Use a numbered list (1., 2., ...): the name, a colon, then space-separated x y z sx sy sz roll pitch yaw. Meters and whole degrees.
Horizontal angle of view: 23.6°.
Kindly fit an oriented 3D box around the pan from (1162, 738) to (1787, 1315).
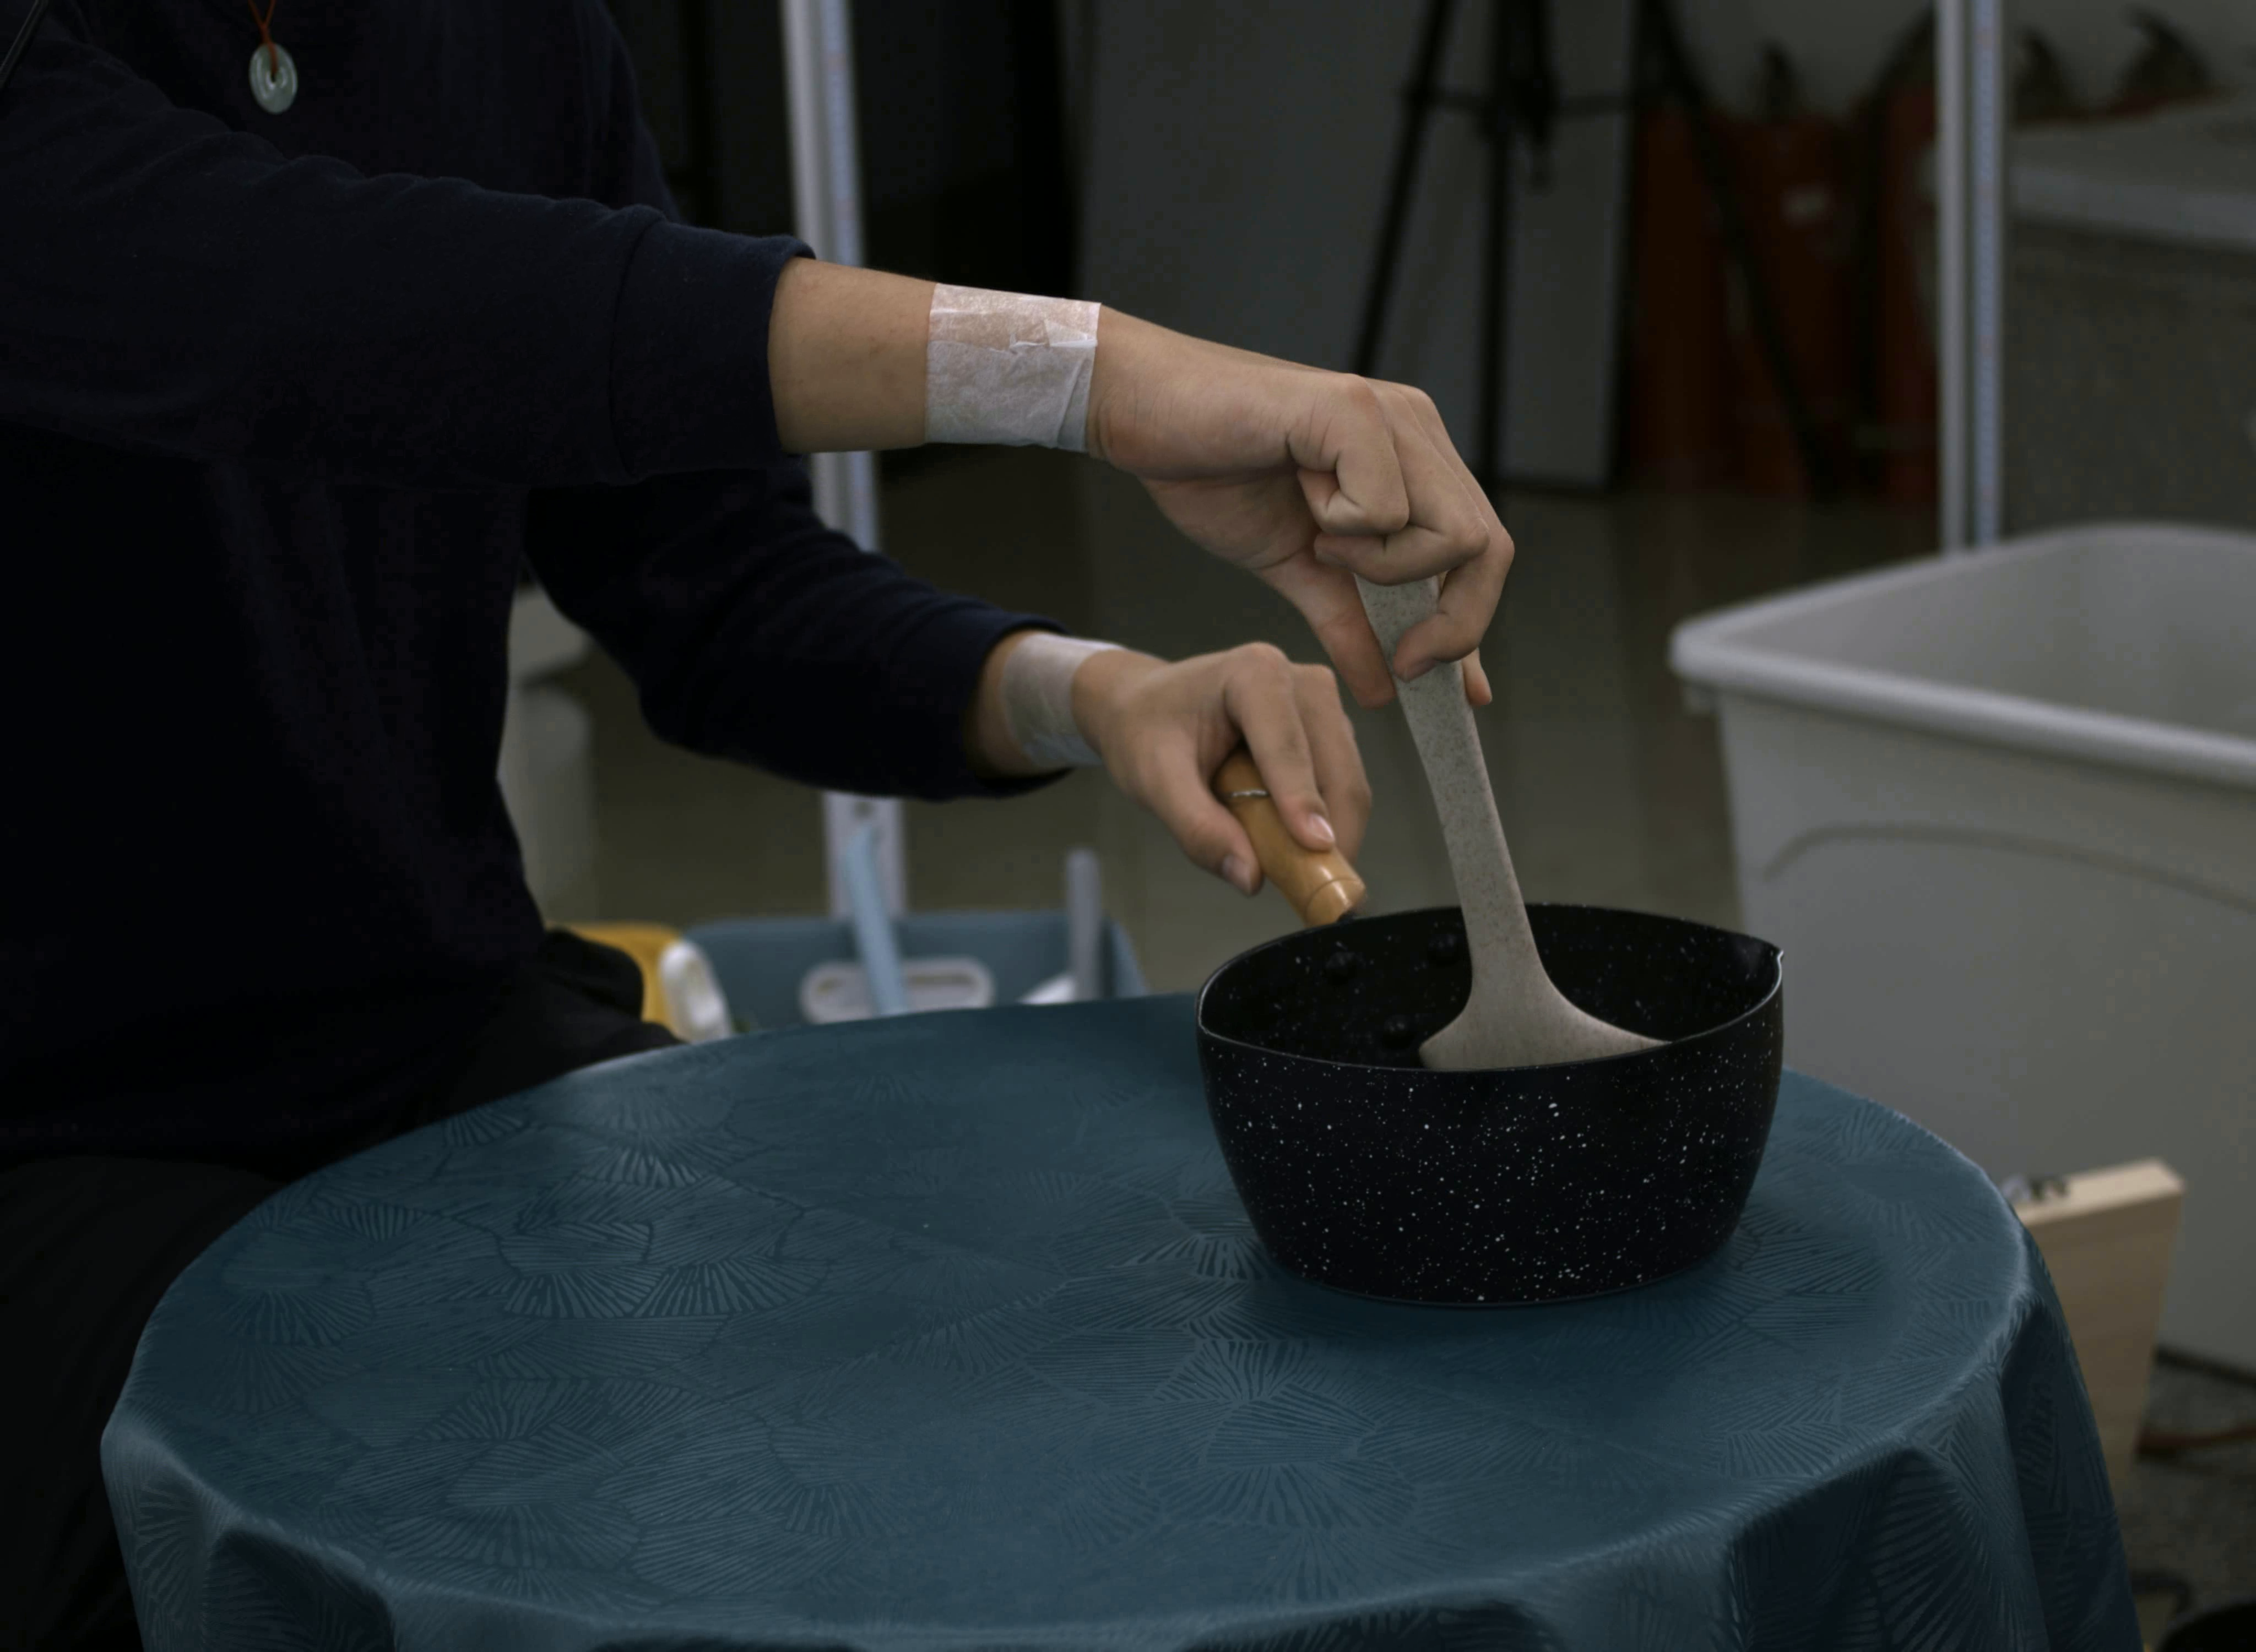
1. pan: 0.089 0.060 1.765 0.203 0.109 0.346 -10 16 -17

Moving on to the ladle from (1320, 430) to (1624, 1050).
1. ladle: 0.108 -0.017 1.661 0.089 0.275 0.069 0 33 28
